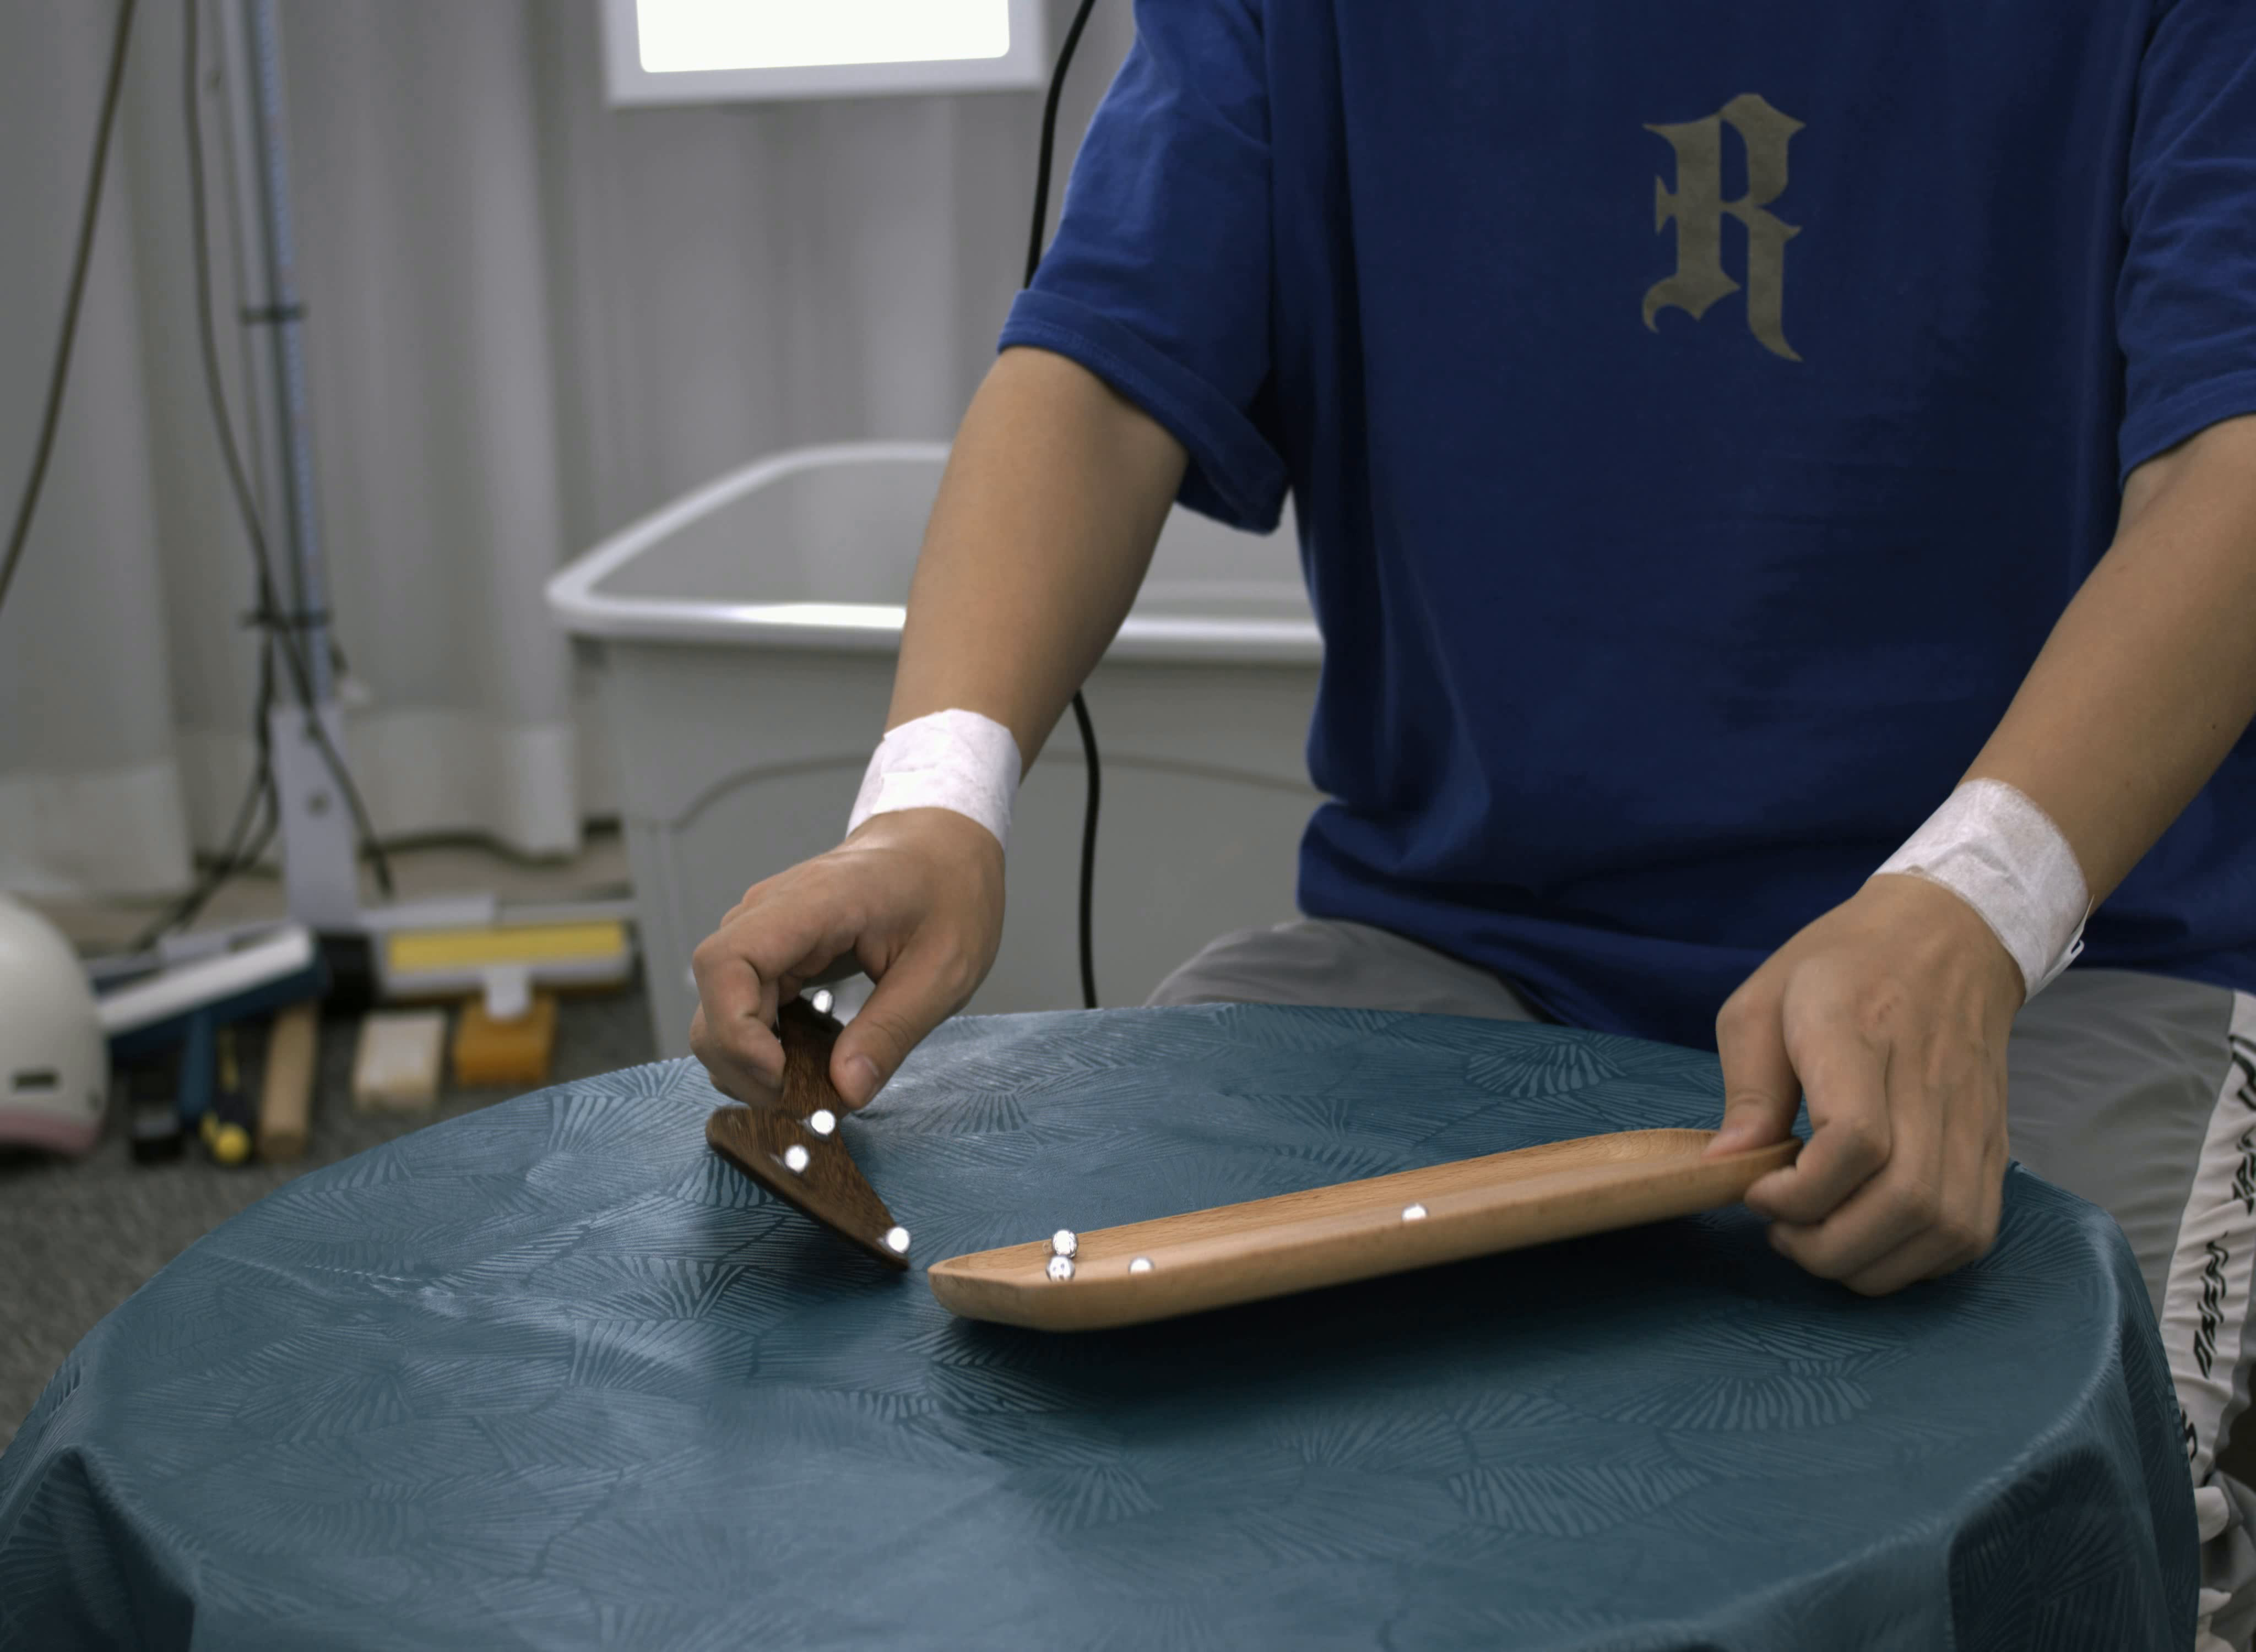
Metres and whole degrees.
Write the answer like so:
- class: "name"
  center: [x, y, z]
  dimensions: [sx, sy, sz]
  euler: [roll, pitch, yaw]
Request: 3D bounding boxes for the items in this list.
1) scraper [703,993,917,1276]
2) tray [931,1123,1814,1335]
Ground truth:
- class: "scraper"
  center: [-0.100, 0.091, 1.725]
  dimensions: [0.075, 0.011, 0.213]
  euler: [32, 12, -11]
- class: "tray"
  center: [0.072, 0.117, 1.604]
  dimensions: [0.249, 0.023, 0.131]
  euler: [-9, 5, -21]
